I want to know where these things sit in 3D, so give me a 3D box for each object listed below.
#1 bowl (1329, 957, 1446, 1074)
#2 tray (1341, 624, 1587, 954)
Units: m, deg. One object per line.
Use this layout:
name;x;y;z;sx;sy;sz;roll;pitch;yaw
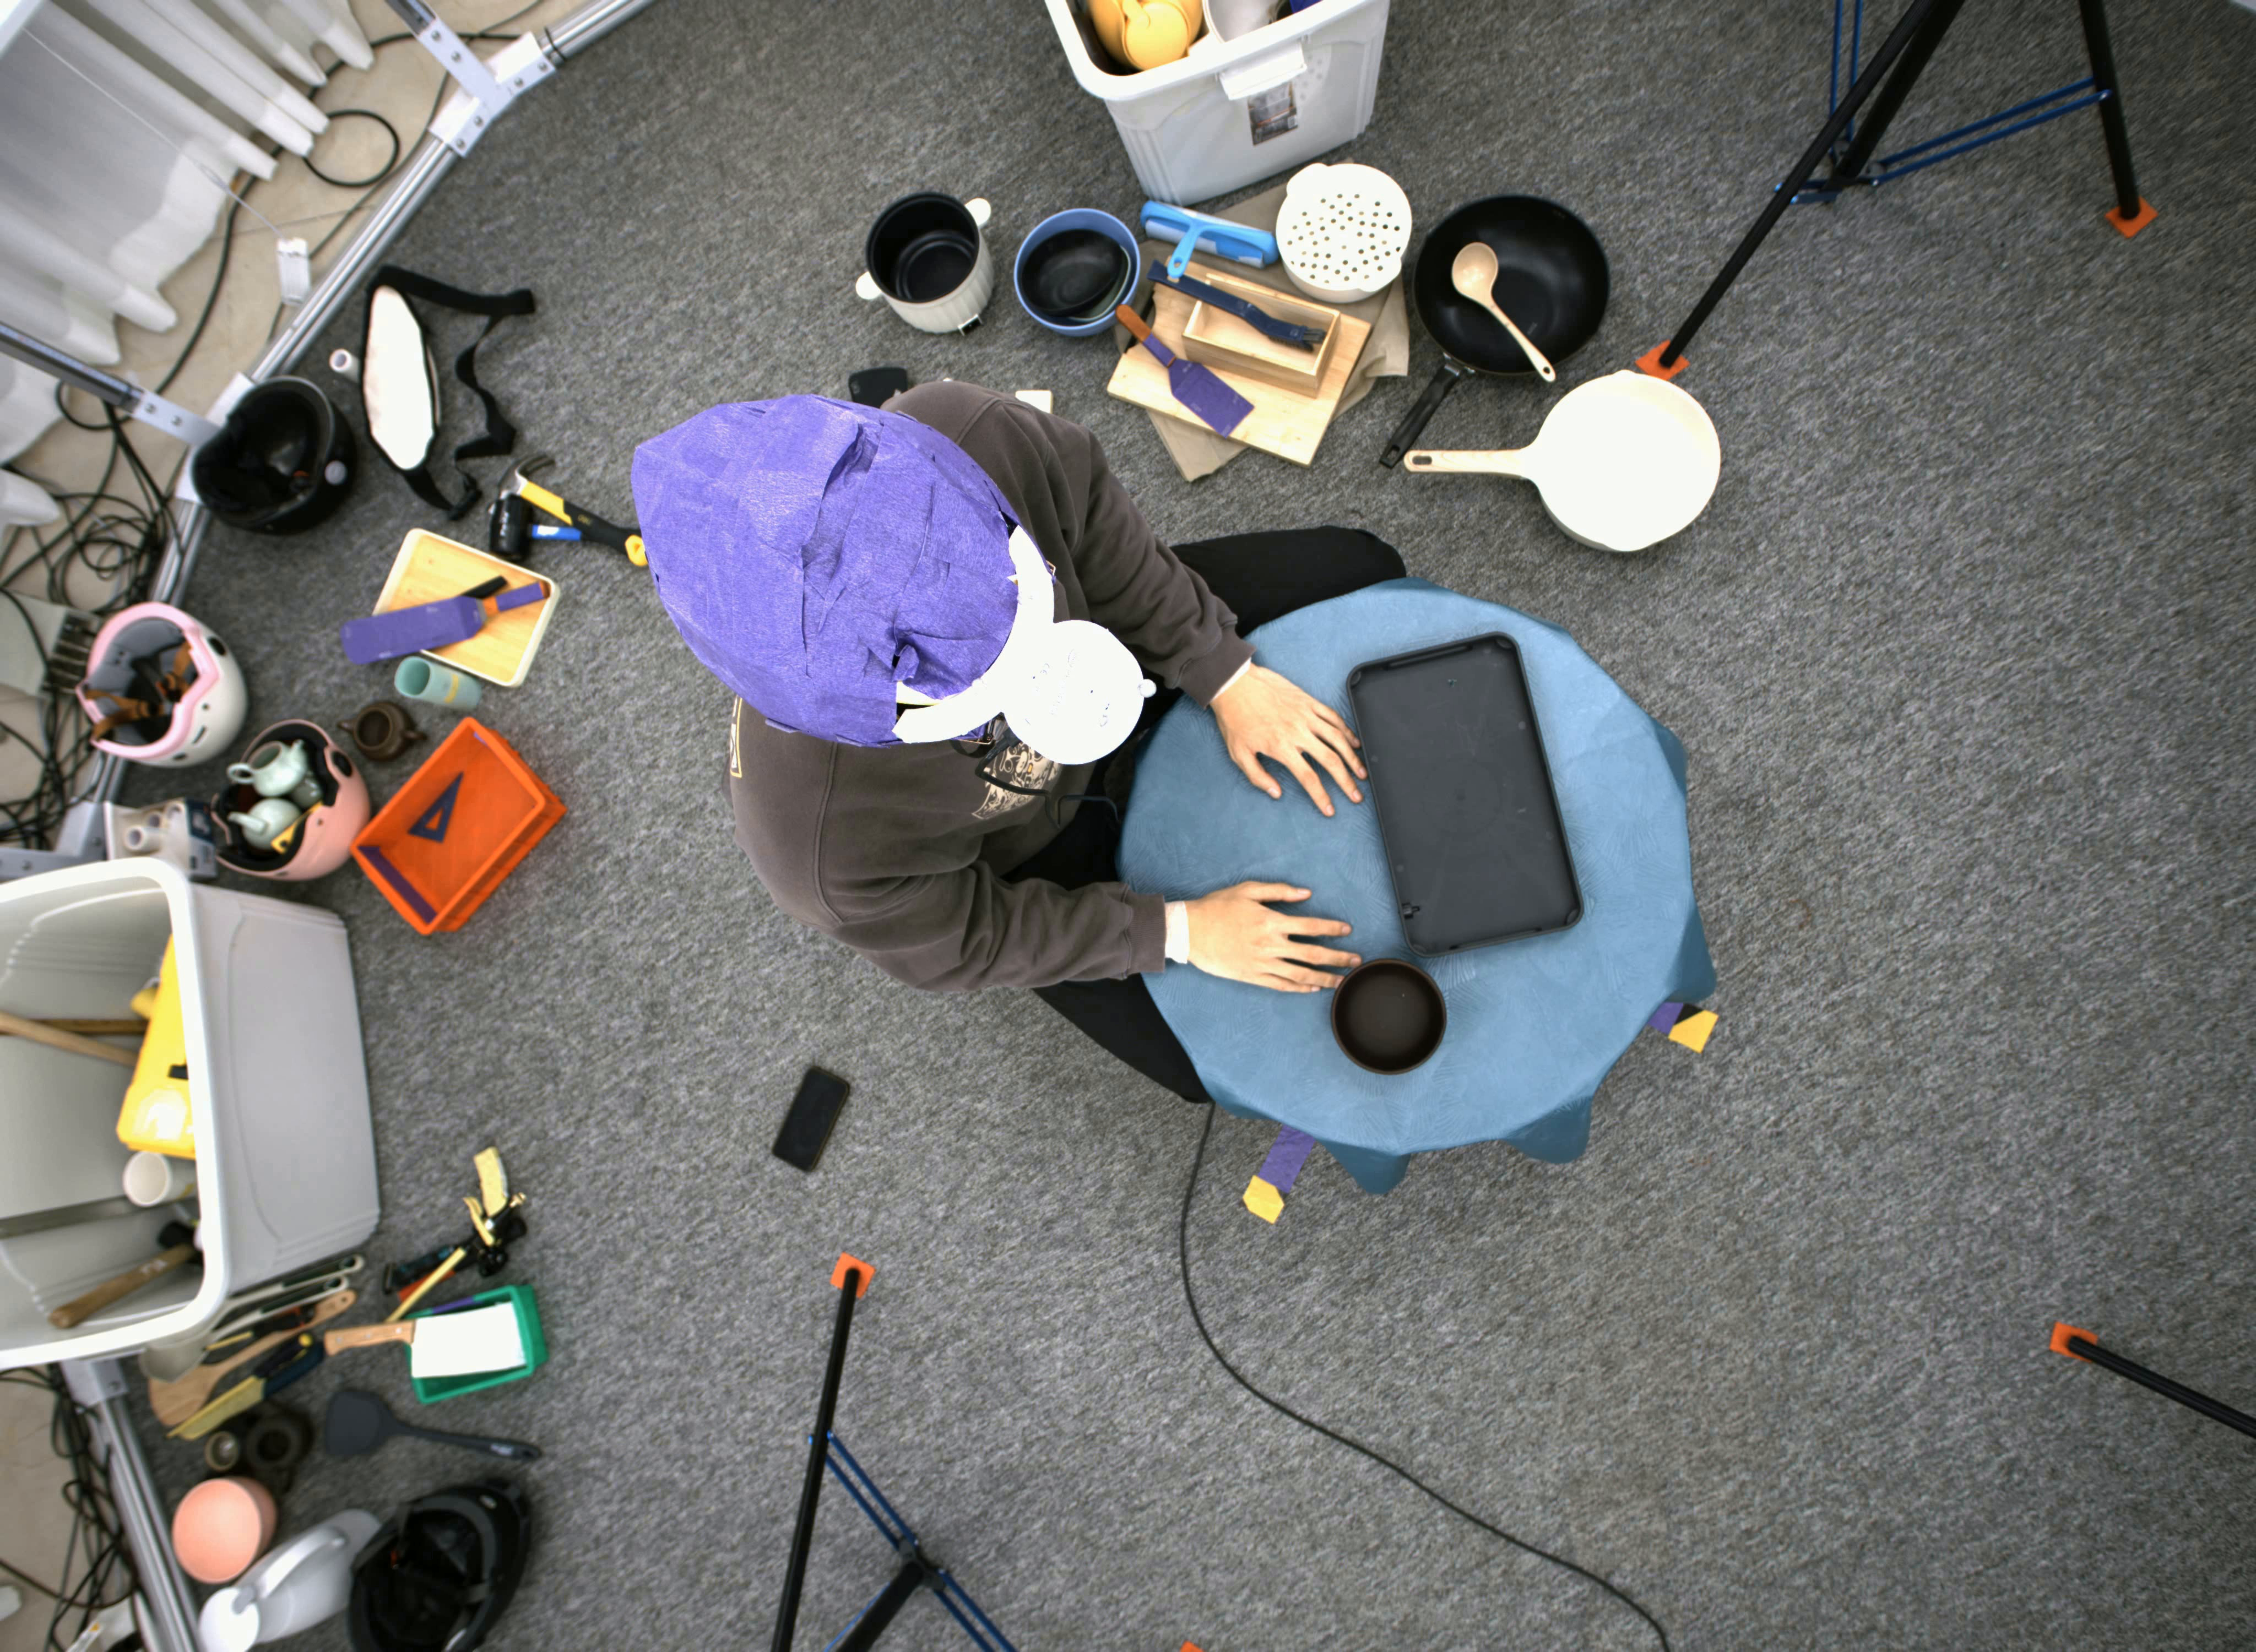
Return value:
bowl;0.266;0.192;1.416;0.118;0.070;0.117;-1;86;12
tray;0.347;-0.040;1.431;0.185;0.037;0.316;-15;85;10
